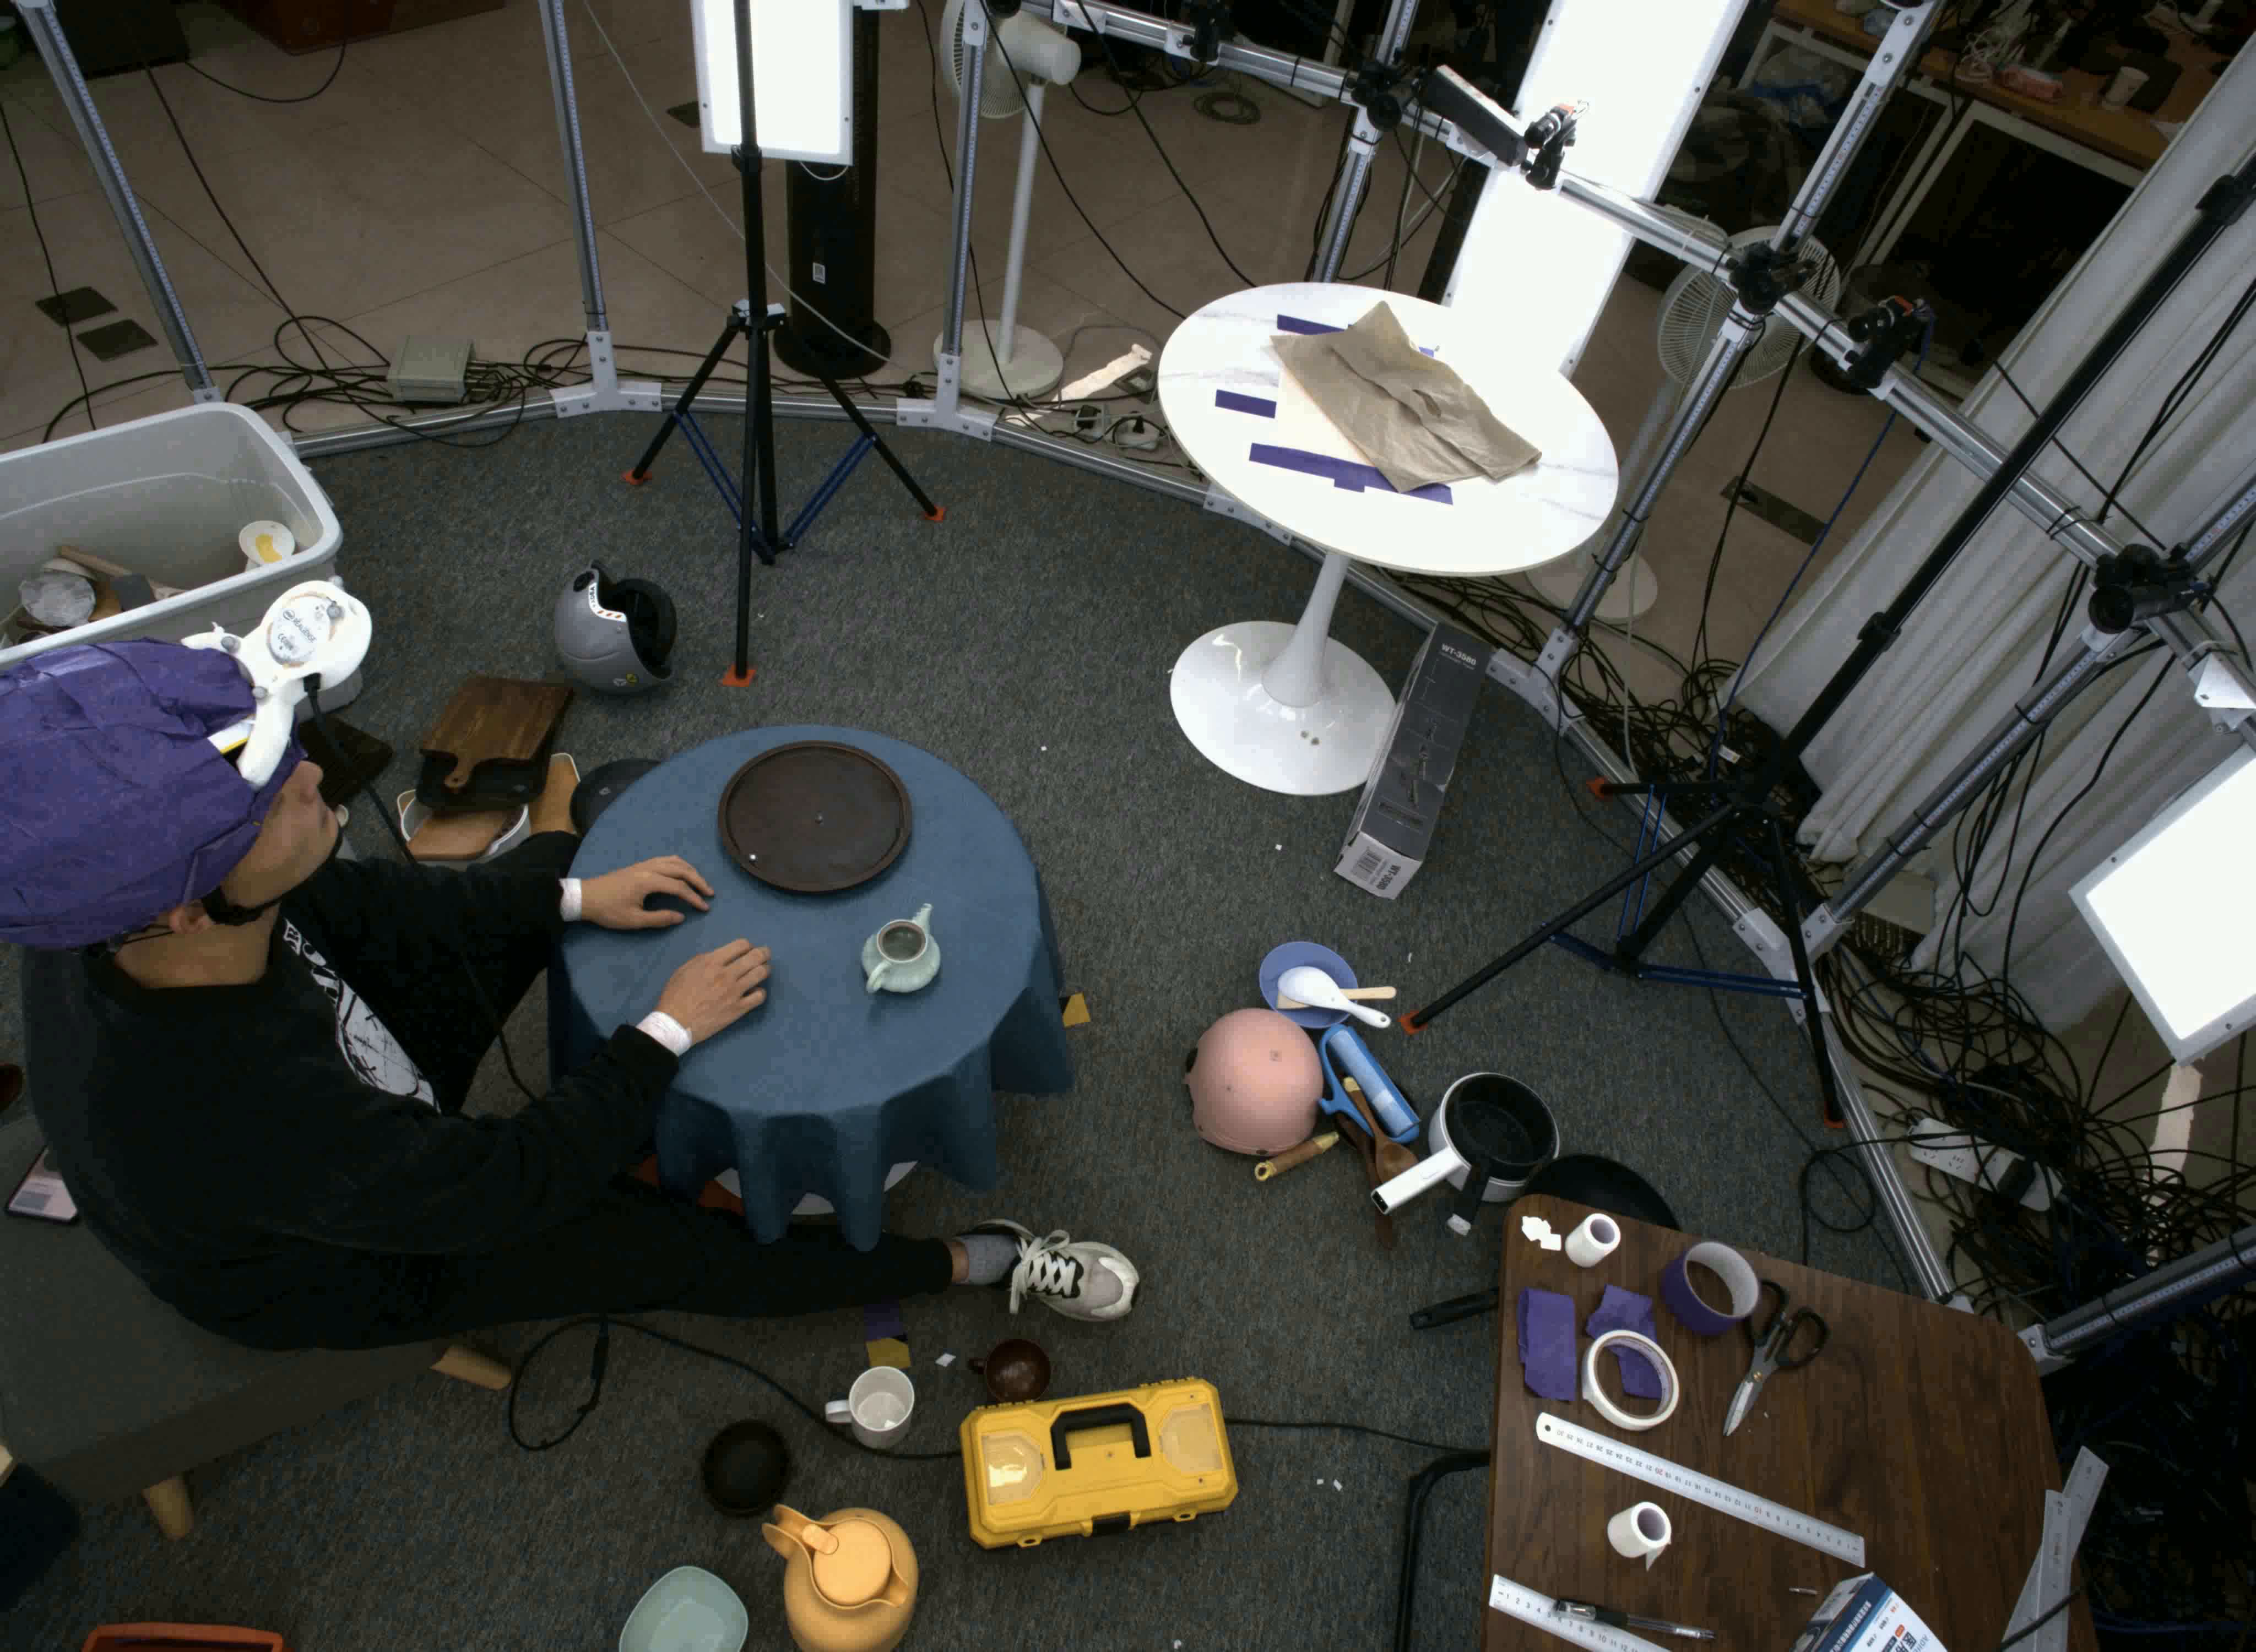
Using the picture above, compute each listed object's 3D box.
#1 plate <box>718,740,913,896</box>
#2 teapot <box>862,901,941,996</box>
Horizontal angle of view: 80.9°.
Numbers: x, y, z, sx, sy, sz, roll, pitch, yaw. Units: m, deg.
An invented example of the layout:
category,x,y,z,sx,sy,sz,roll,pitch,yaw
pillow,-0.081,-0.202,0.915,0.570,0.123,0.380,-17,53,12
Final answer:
category,x,y,z,sx,sy,sz,roll,pitch,yaw
plate,-0.413,-0.013,1.719,0.254,0.029,0.250,9,52,-10
teapot,-0.281,0.157,1.603,0.095,0.062,0.136,26,52,5
